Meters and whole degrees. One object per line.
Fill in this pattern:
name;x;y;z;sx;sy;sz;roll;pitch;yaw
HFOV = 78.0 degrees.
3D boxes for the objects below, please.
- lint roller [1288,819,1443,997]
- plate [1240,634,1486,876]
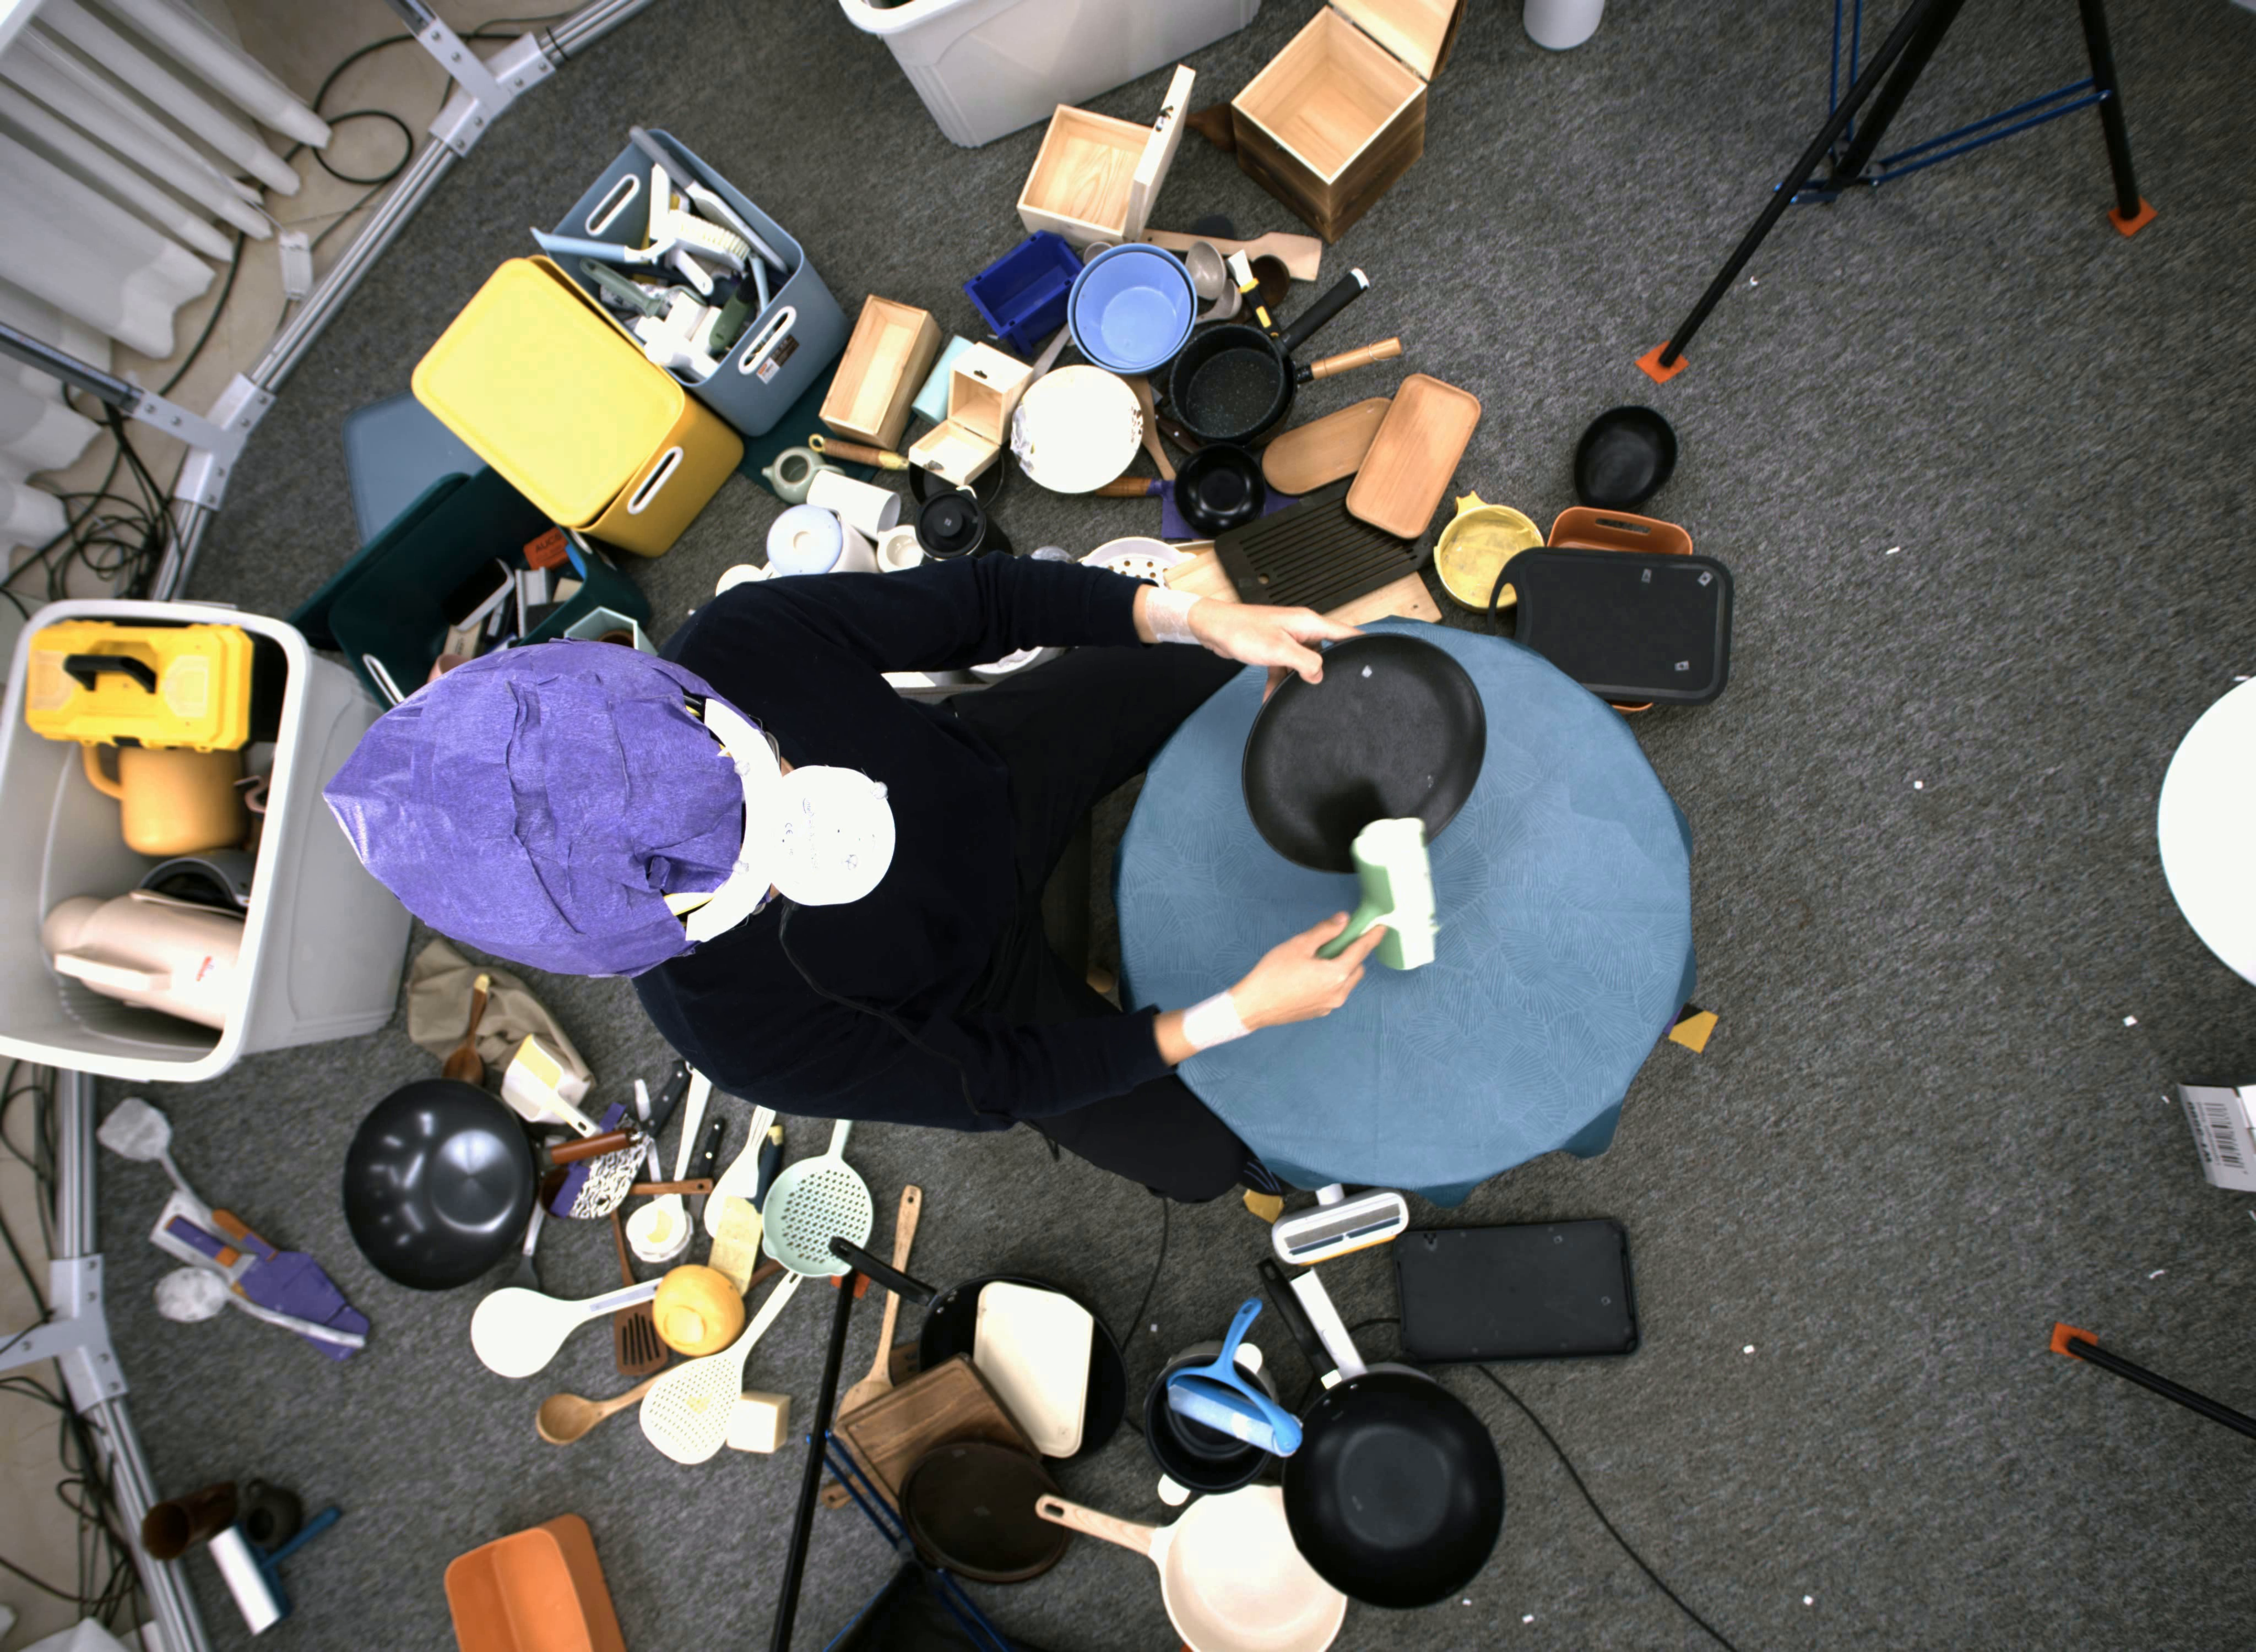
lint roller;0.238;0.109;1.322;0.081;0.202;0.181;32;69;35
plate;0.219;-0.066;1.286;0.244;0.023;0.249;-6;119;-11
